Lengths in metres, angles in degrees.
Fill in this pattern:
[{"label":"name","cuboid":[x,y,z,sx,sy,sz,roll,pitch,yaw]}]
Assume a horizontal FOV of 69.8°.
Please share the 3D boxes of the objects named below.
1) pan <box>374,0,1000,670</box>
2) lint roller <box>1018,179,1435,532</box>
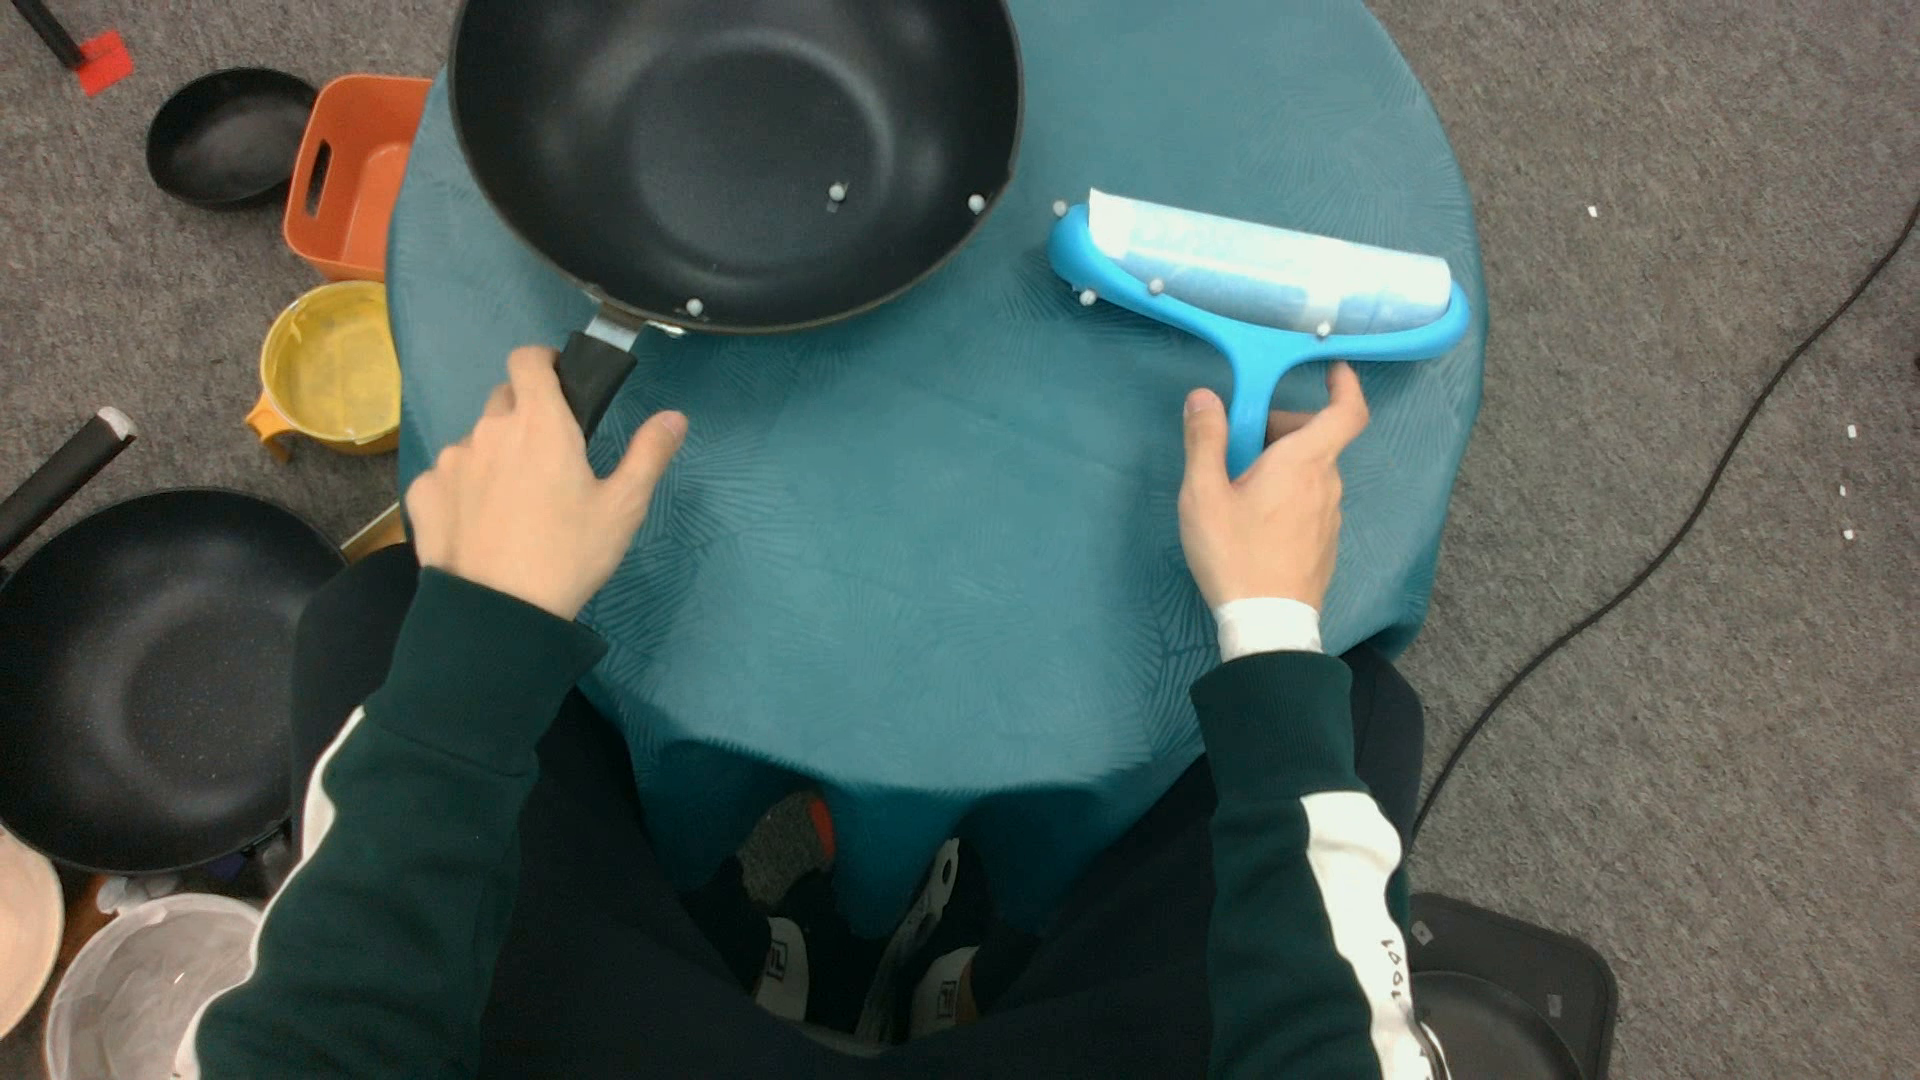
[{"label":"pan","cuboid":[-0.157,-0.143,0.694,0.288,0.086,0.464,22,75,1]},{"label":"lint roller","cuboid":[0.140,-0.098,0.726,0.229,0.067,0.181,7,71,-7]}]
